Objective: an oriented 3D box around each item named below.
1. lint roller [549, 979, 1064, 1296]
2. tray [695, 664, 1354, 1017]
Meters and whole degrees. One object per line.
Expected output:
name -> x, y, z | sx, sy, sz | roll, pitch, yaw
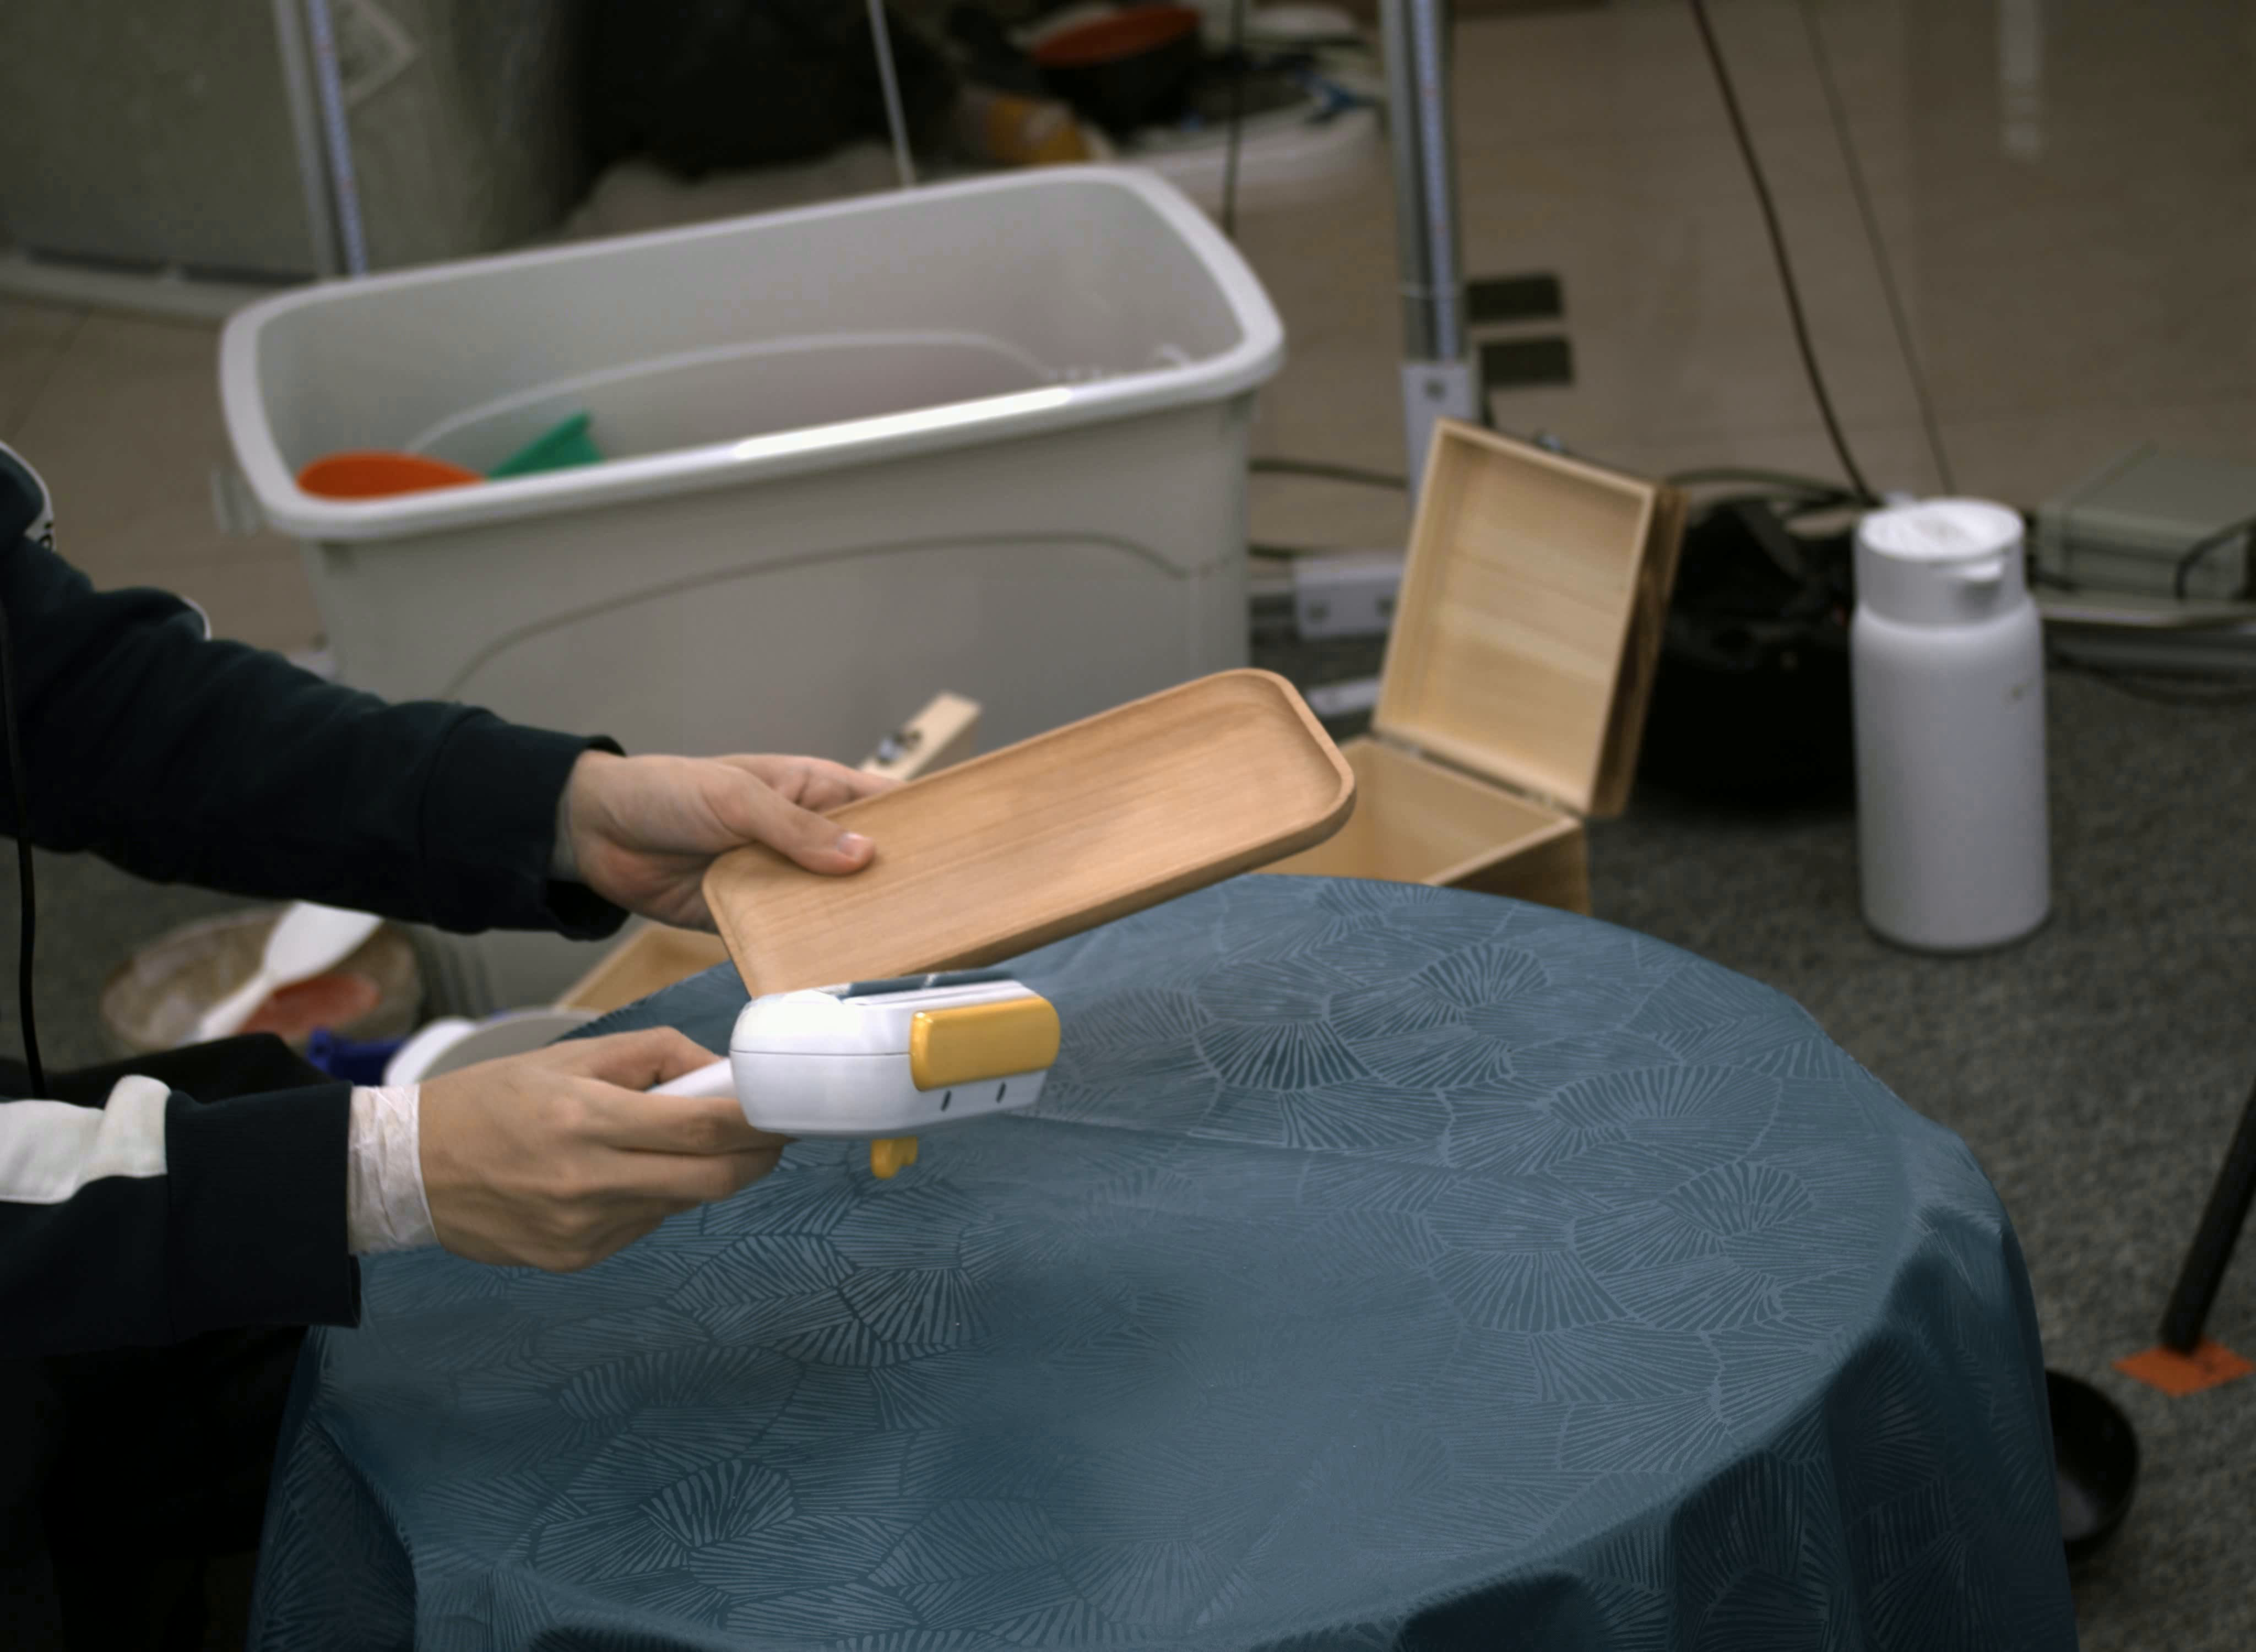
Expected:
lint roller -> -0.132, 0.112, 2.023 | 0.193, 0.074, 0.192 | -22, -4, 24
tray -> -0.040, 0.007, 2.203 | 0.250, 0.023, 0.128 | -20, 32, -7
